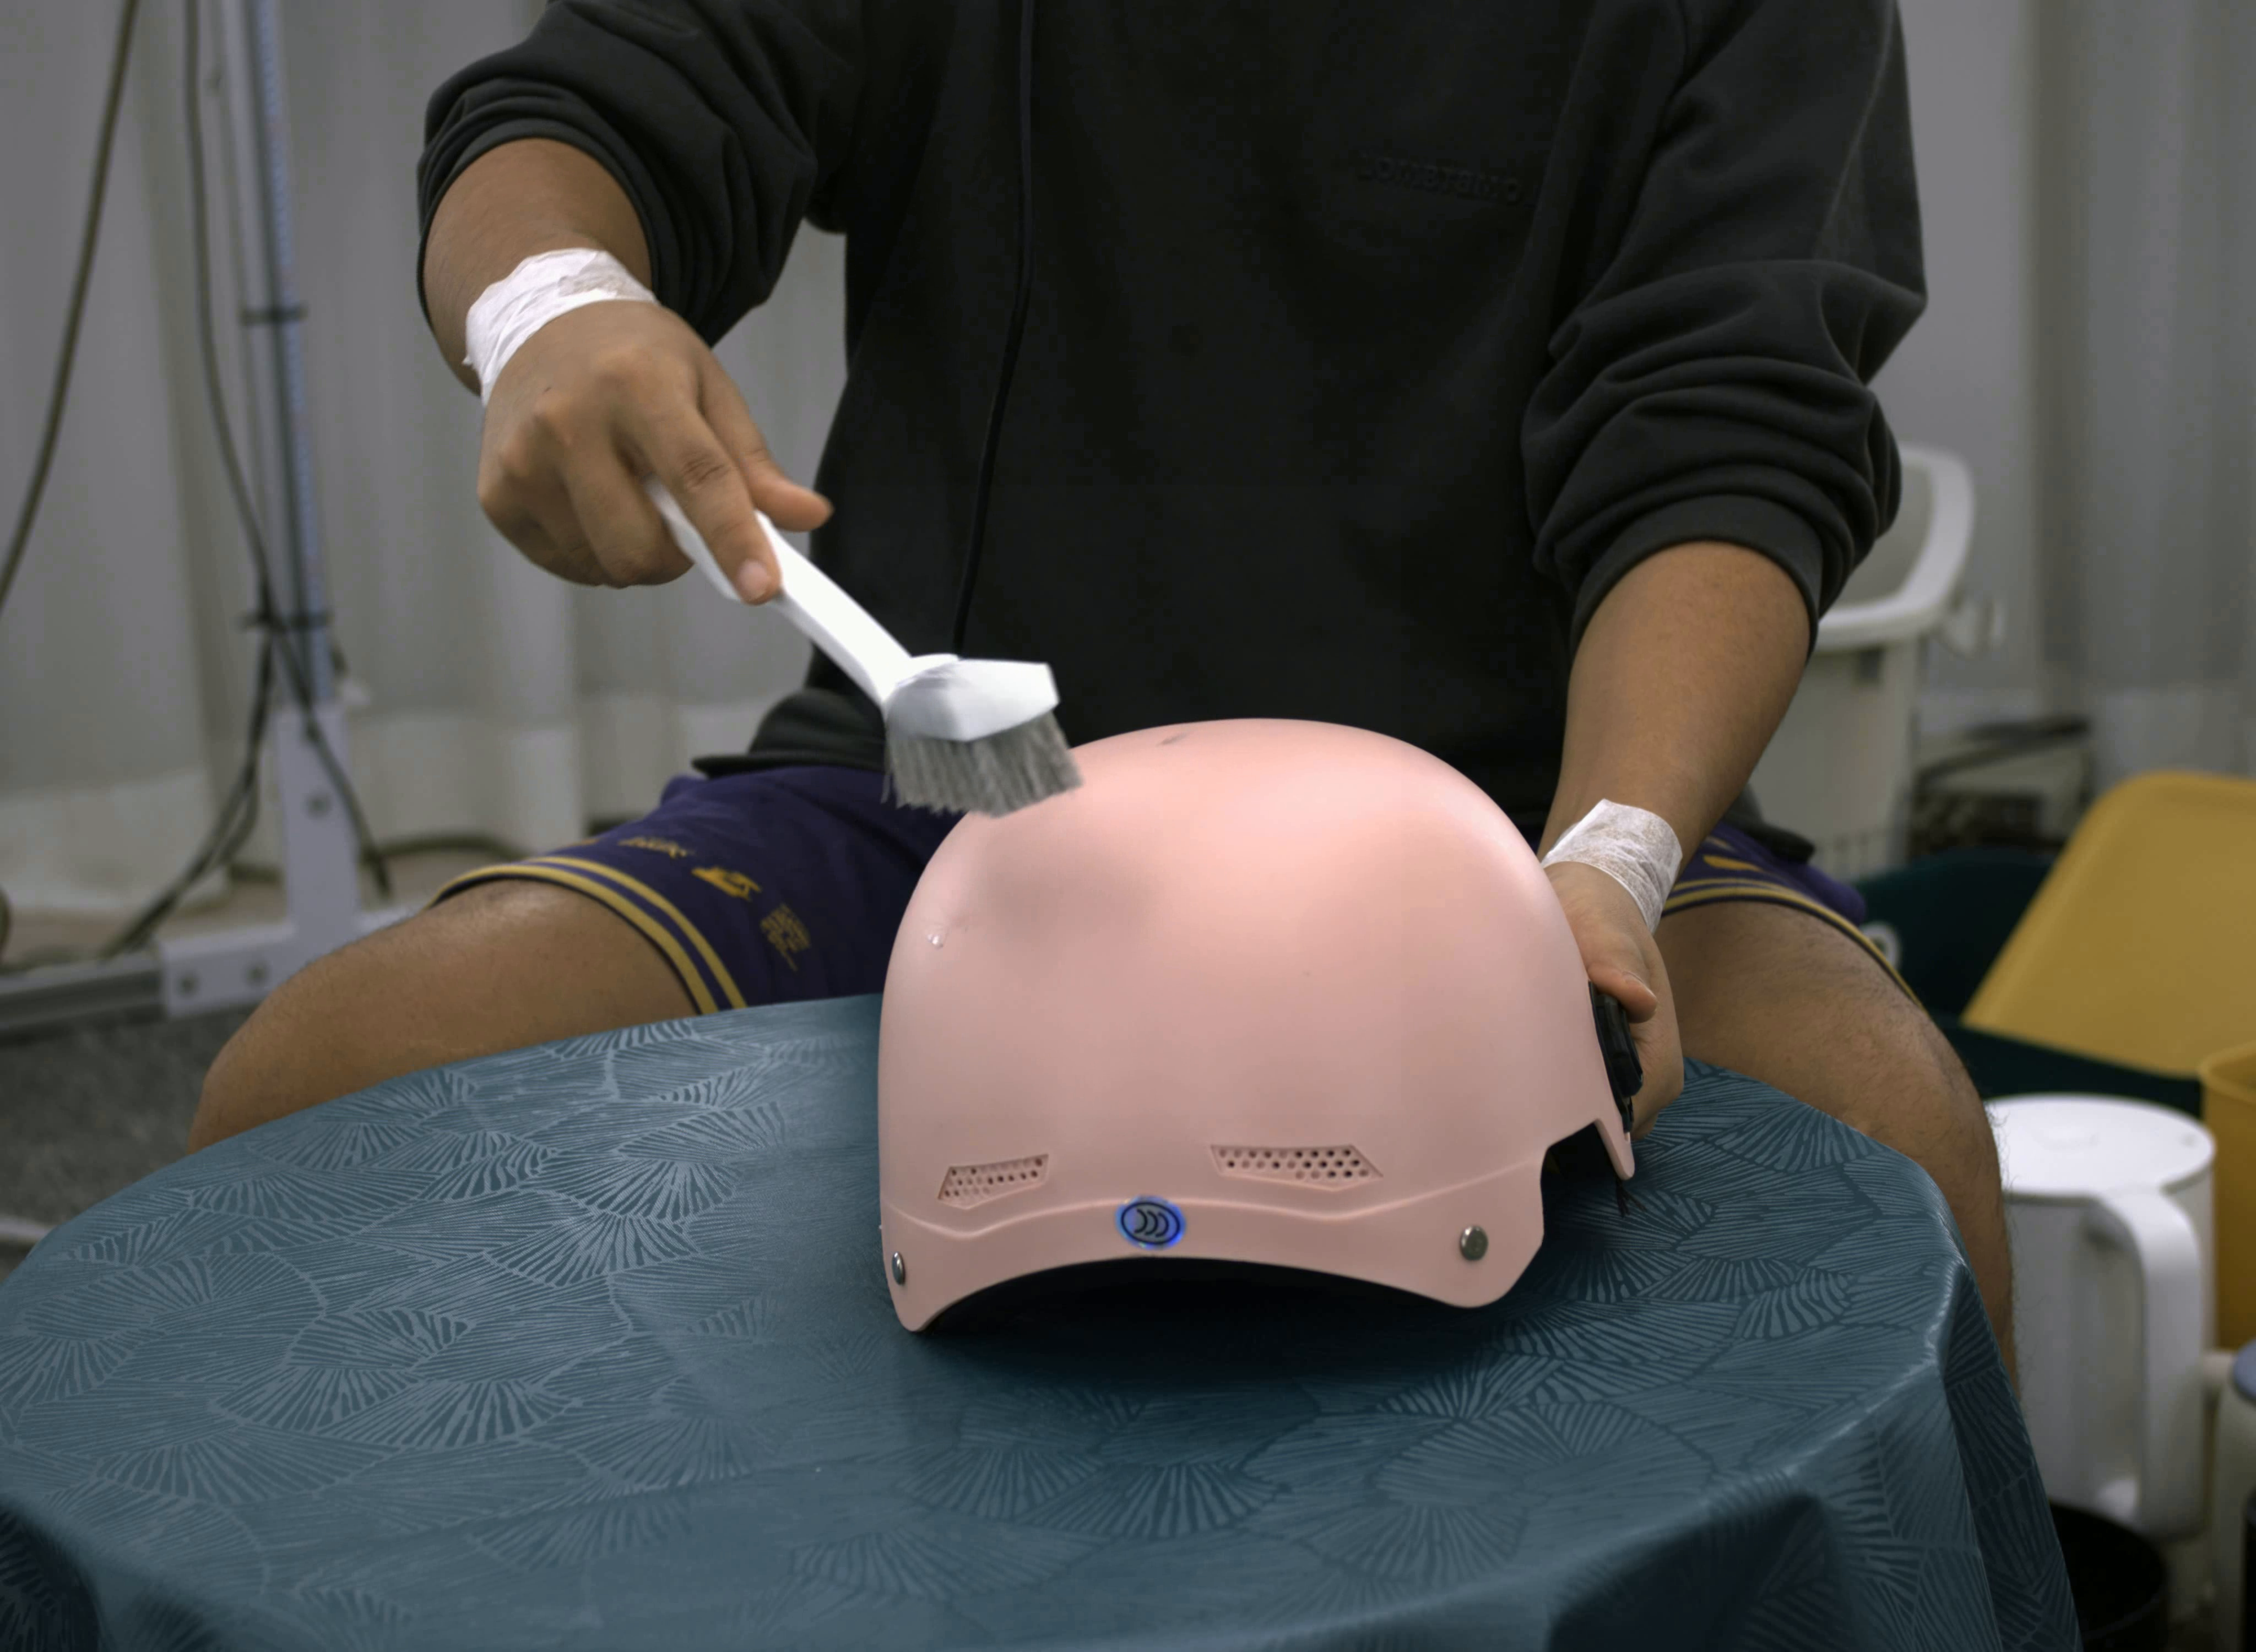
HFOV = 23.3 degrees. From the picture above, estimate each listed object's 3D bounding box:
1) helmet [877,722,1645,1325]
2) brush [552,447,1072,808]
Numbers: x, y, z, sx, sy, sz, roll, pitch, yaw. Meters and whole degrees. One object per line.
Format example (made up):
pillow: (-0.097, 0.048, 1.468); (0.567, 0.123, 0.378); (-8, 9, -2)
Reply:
helmet: (0.032, 0.046, 1.647); (0.234, 0.158, 0.266); (-5, 9, 17)
brush: (-0.097, -0.057, 1.608); (0.034, 0.050, 0.246); (-23, 32, -29)
